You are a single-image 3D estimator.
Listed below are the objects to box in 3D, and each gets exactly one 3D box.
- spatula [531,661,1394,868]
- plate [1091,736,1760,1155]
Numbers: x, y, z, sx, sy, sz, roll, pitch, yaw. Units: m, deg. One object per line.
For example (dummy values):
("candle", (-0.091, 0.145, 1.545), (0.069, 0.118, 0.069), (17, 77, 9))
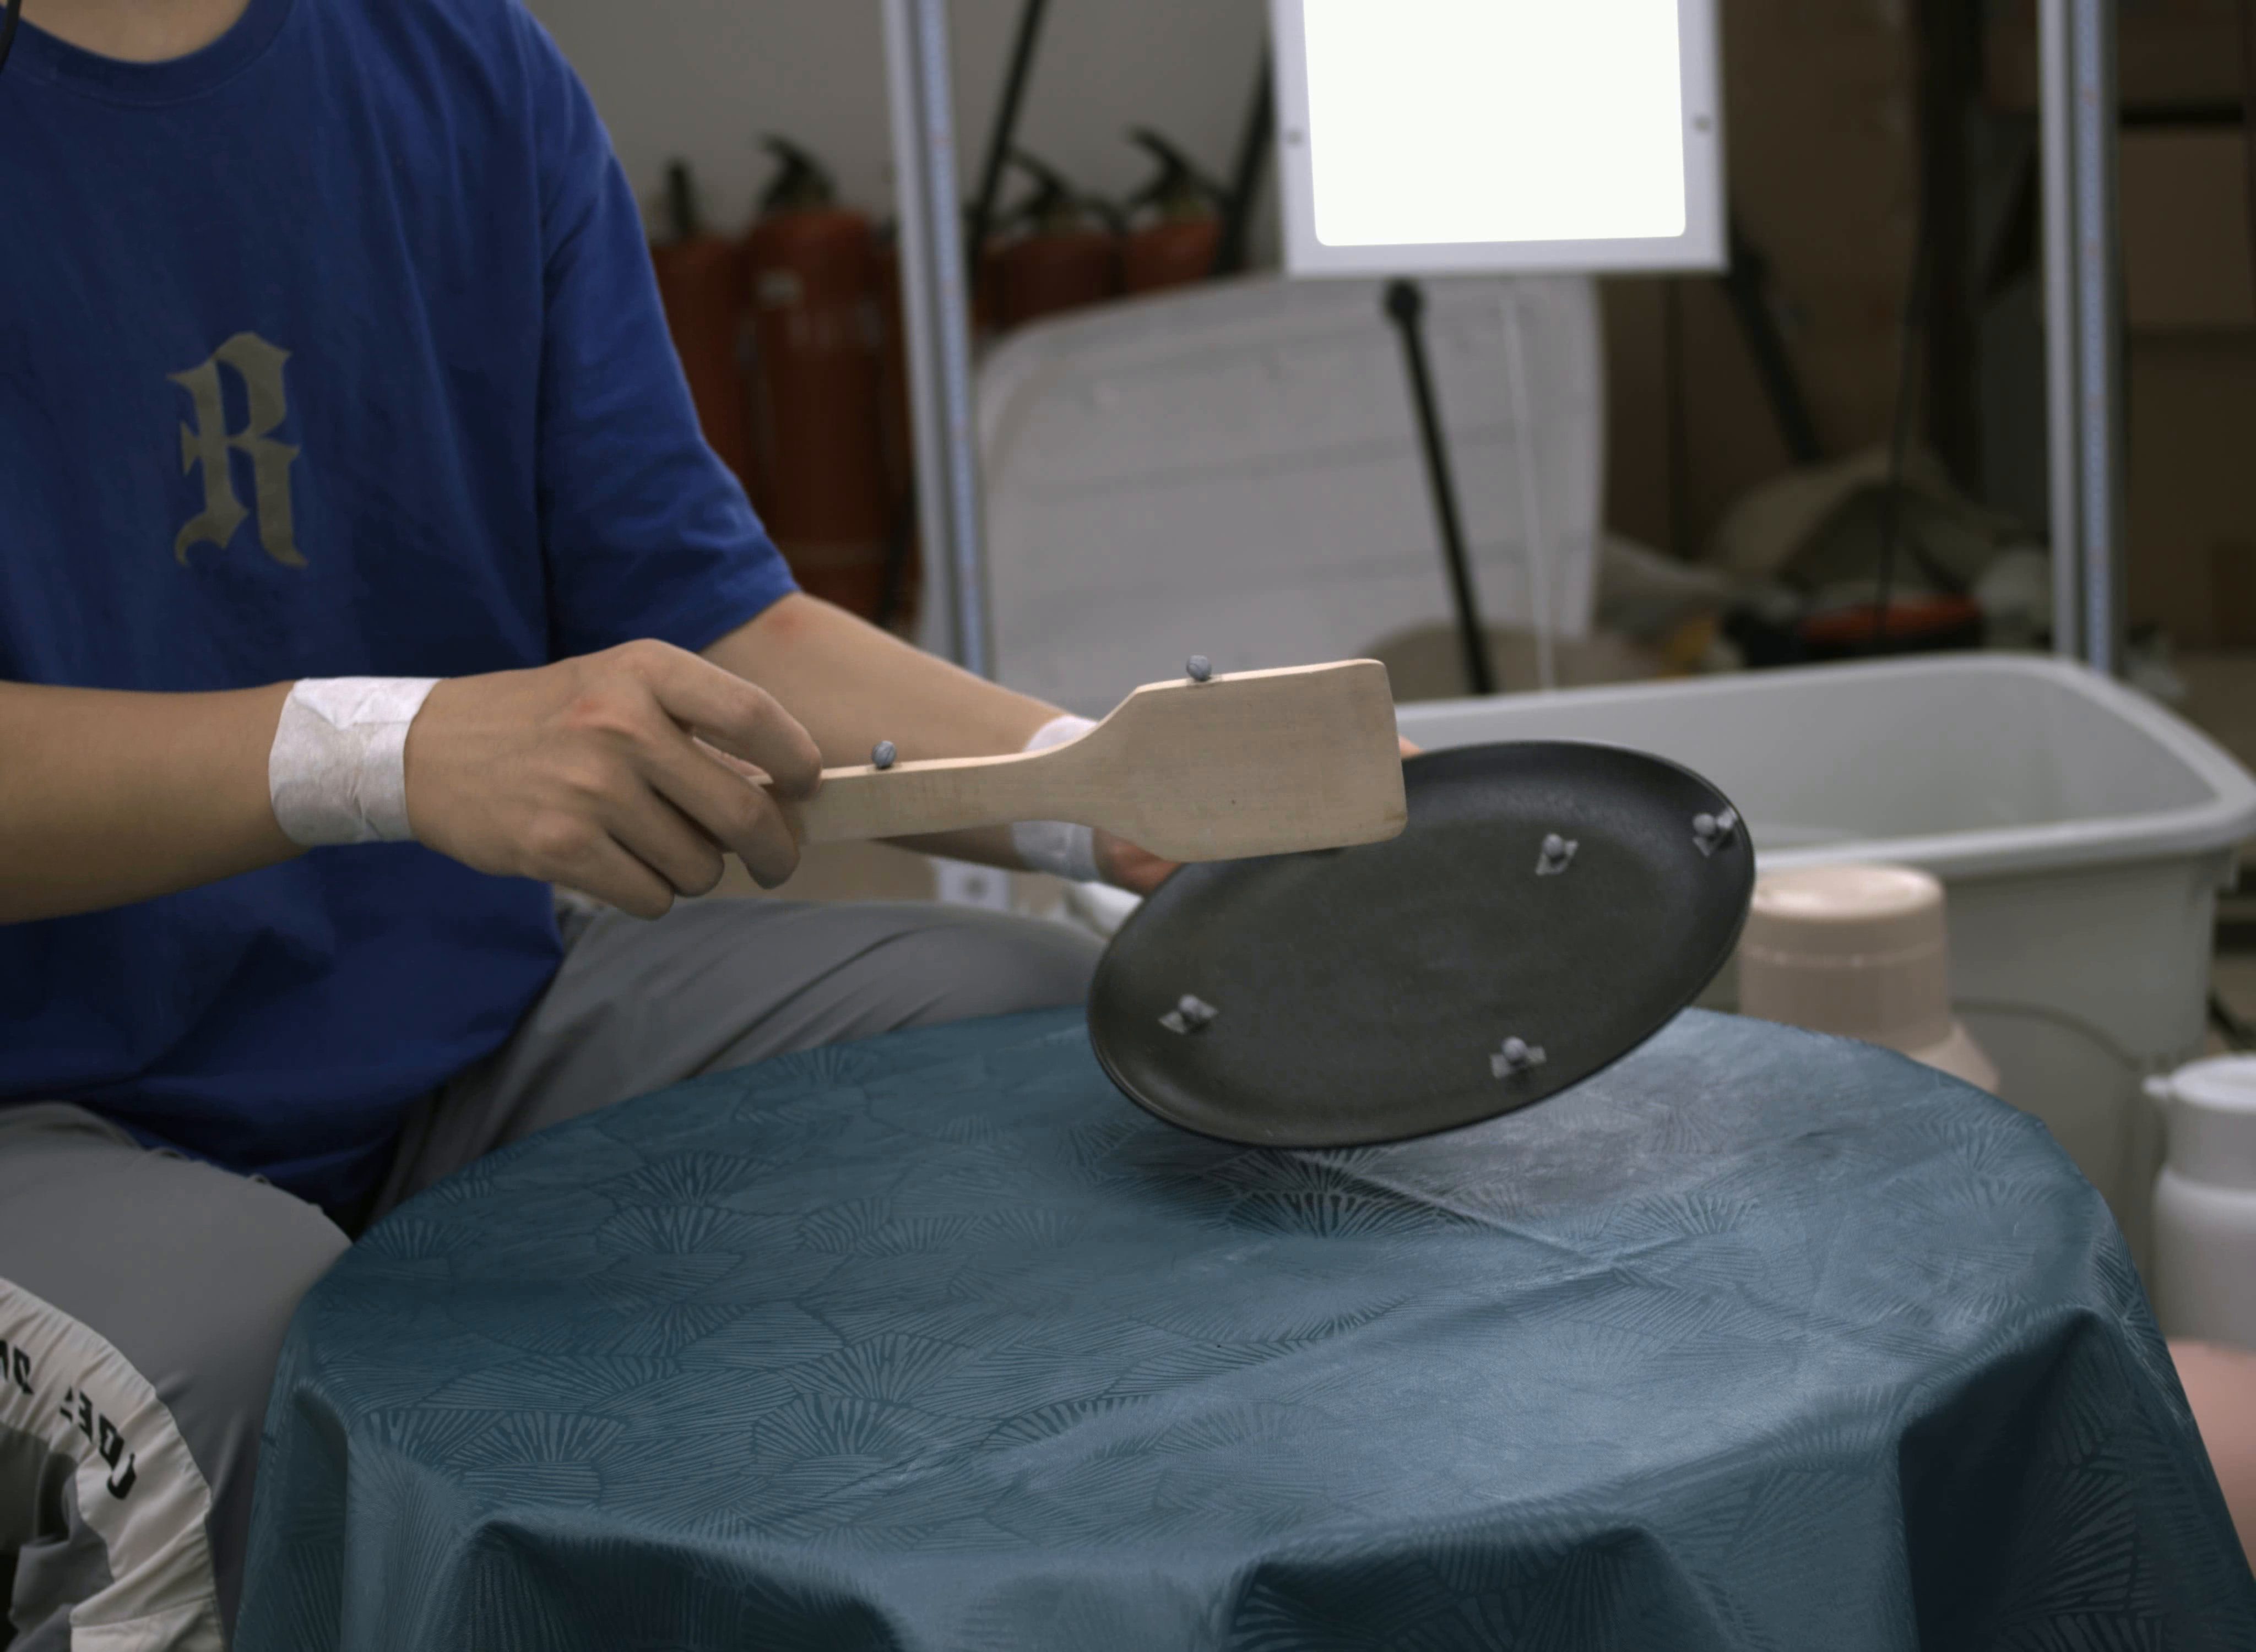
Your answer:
("spatula", (-0.058, -0.012, 1.847), (0.294, 0.072, 0.010), (-5, 32, 10))
("plate", (0.106, 0.046, 1.930), (0.245, 0.023, 0.244), (-16, 31, 8))
